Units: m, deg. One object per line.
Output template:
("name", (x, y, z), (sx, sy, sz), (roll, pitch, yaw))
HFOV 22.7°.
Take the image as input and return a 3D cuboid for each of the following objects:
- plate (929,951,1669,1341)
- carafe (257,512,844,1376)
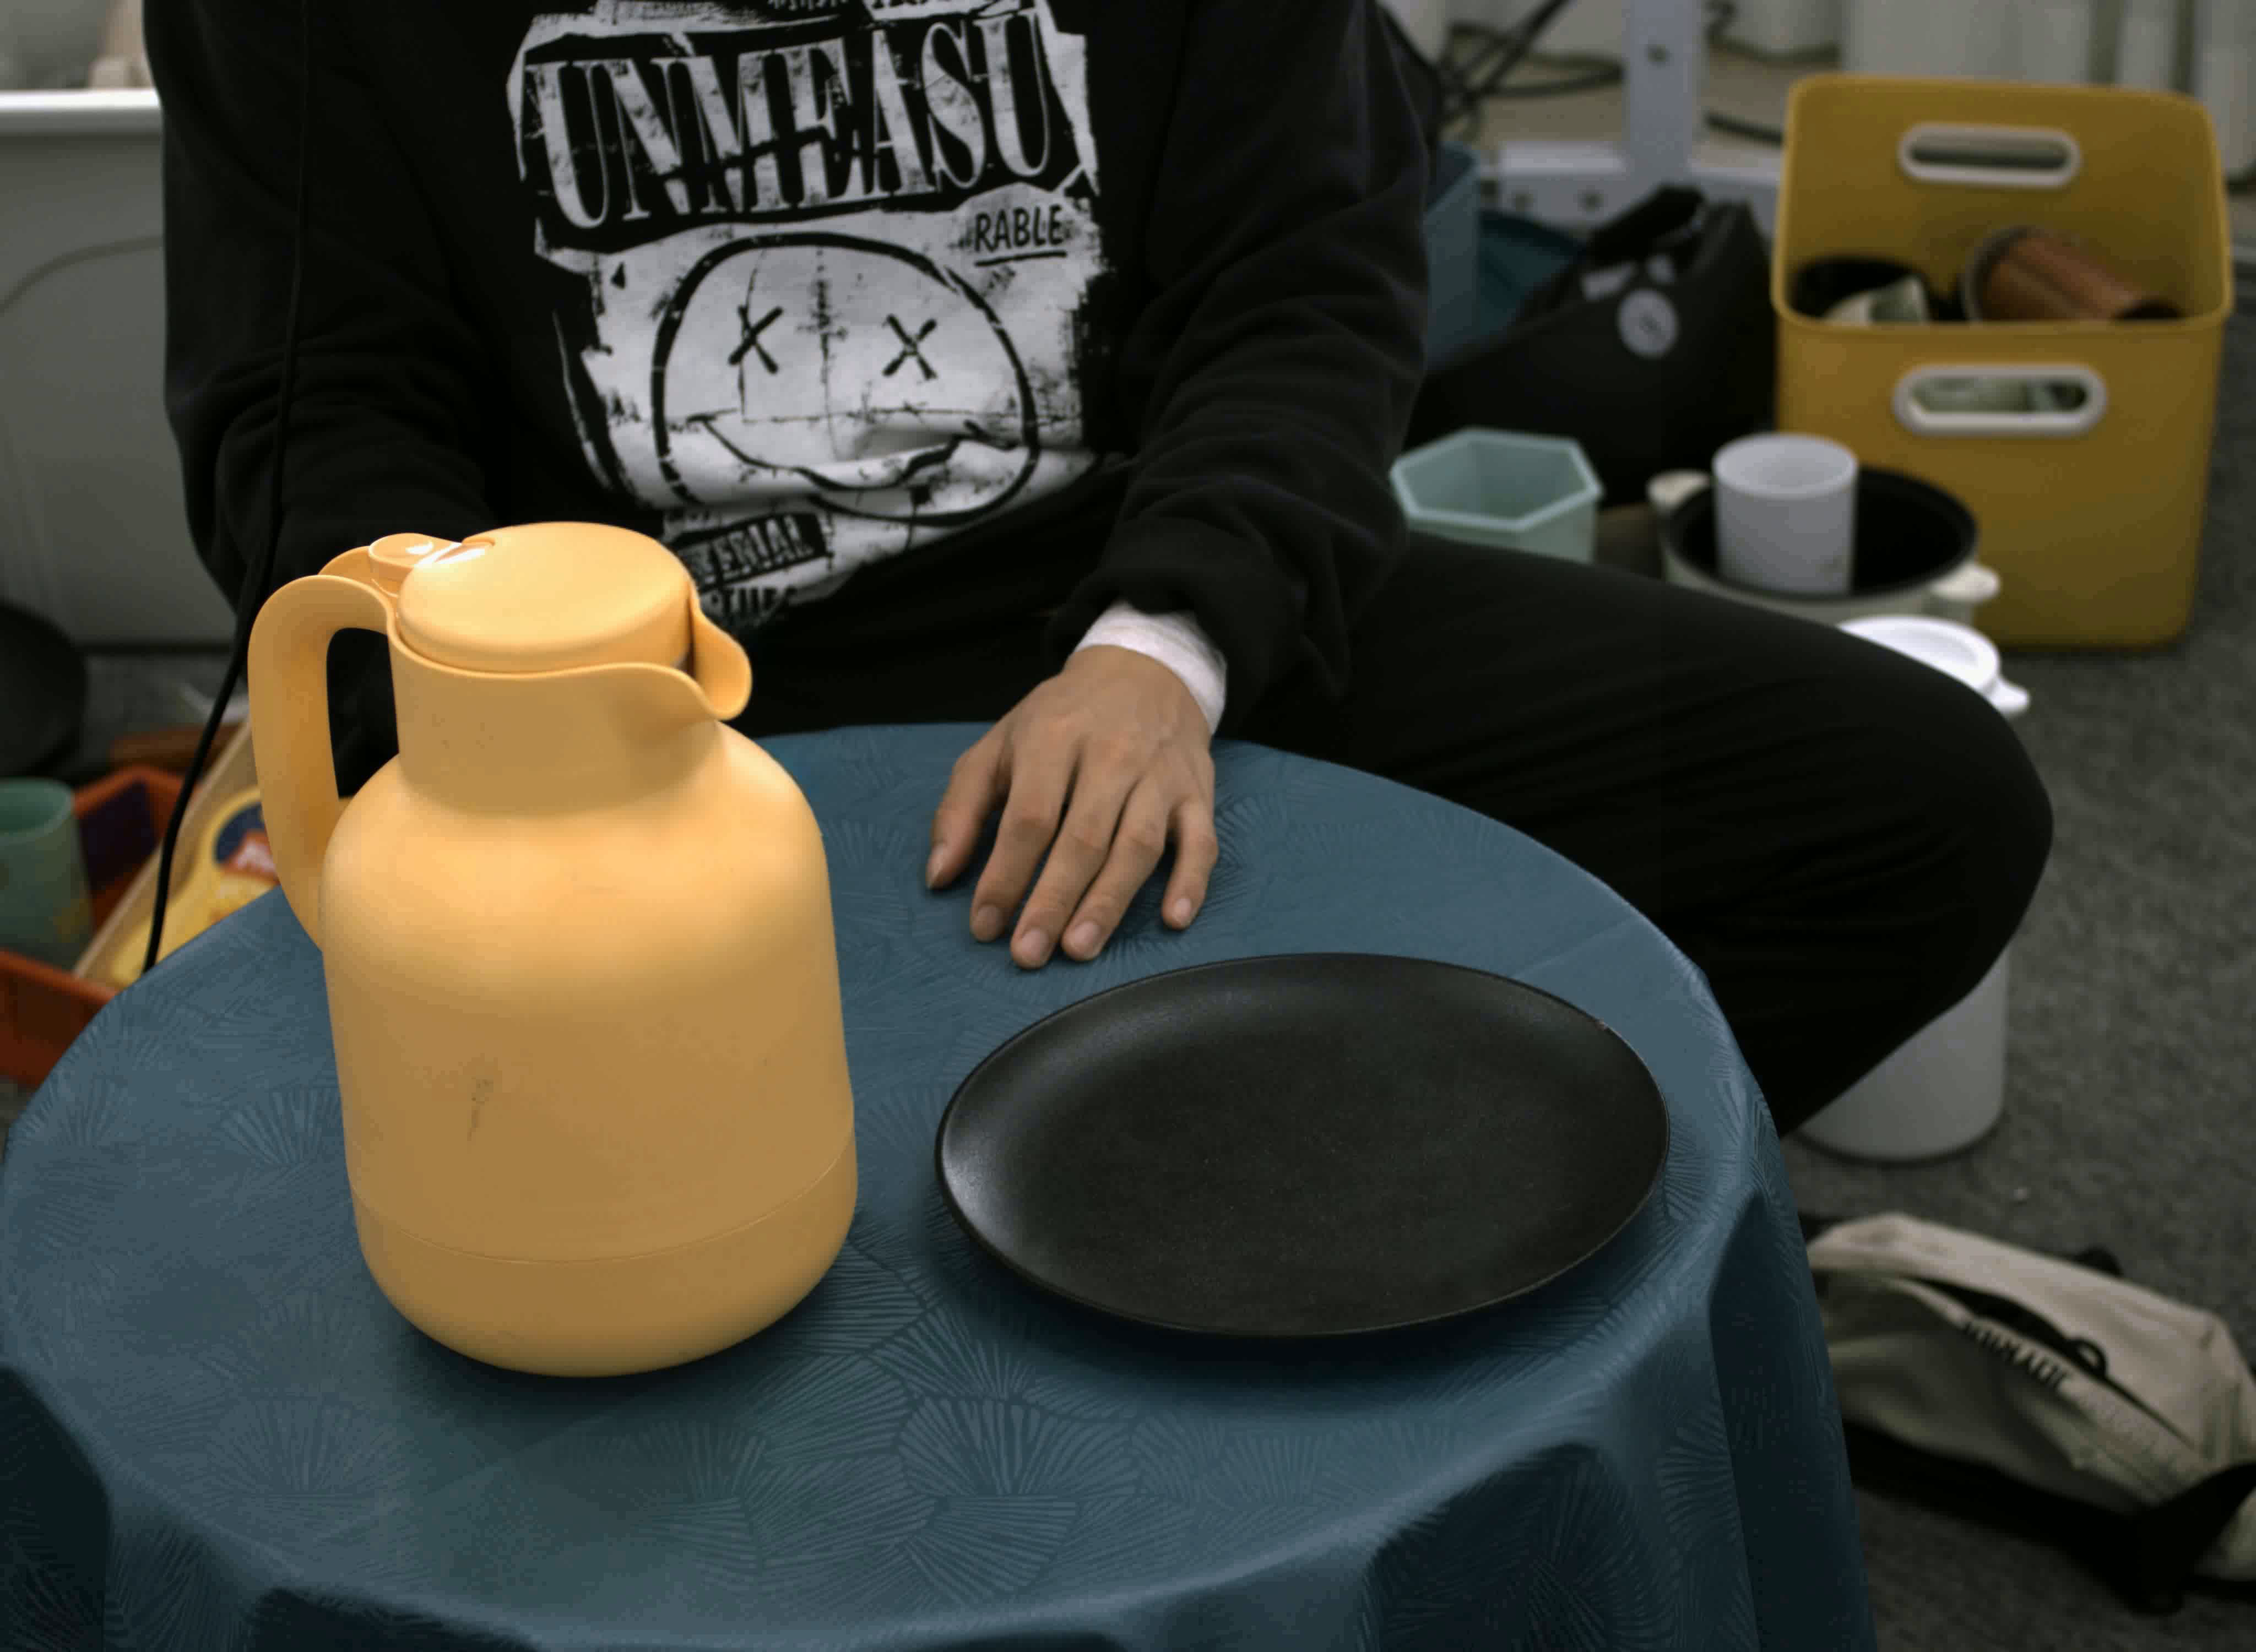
("plate", (0.056, 0.110, 1.850), (0.243, 0.023, 0.248), (-2, 27, 1))
("carafe", (-0.188, 0.027, 1.778), (0.201, 0.258, 0.166), (18, 31, 33))
